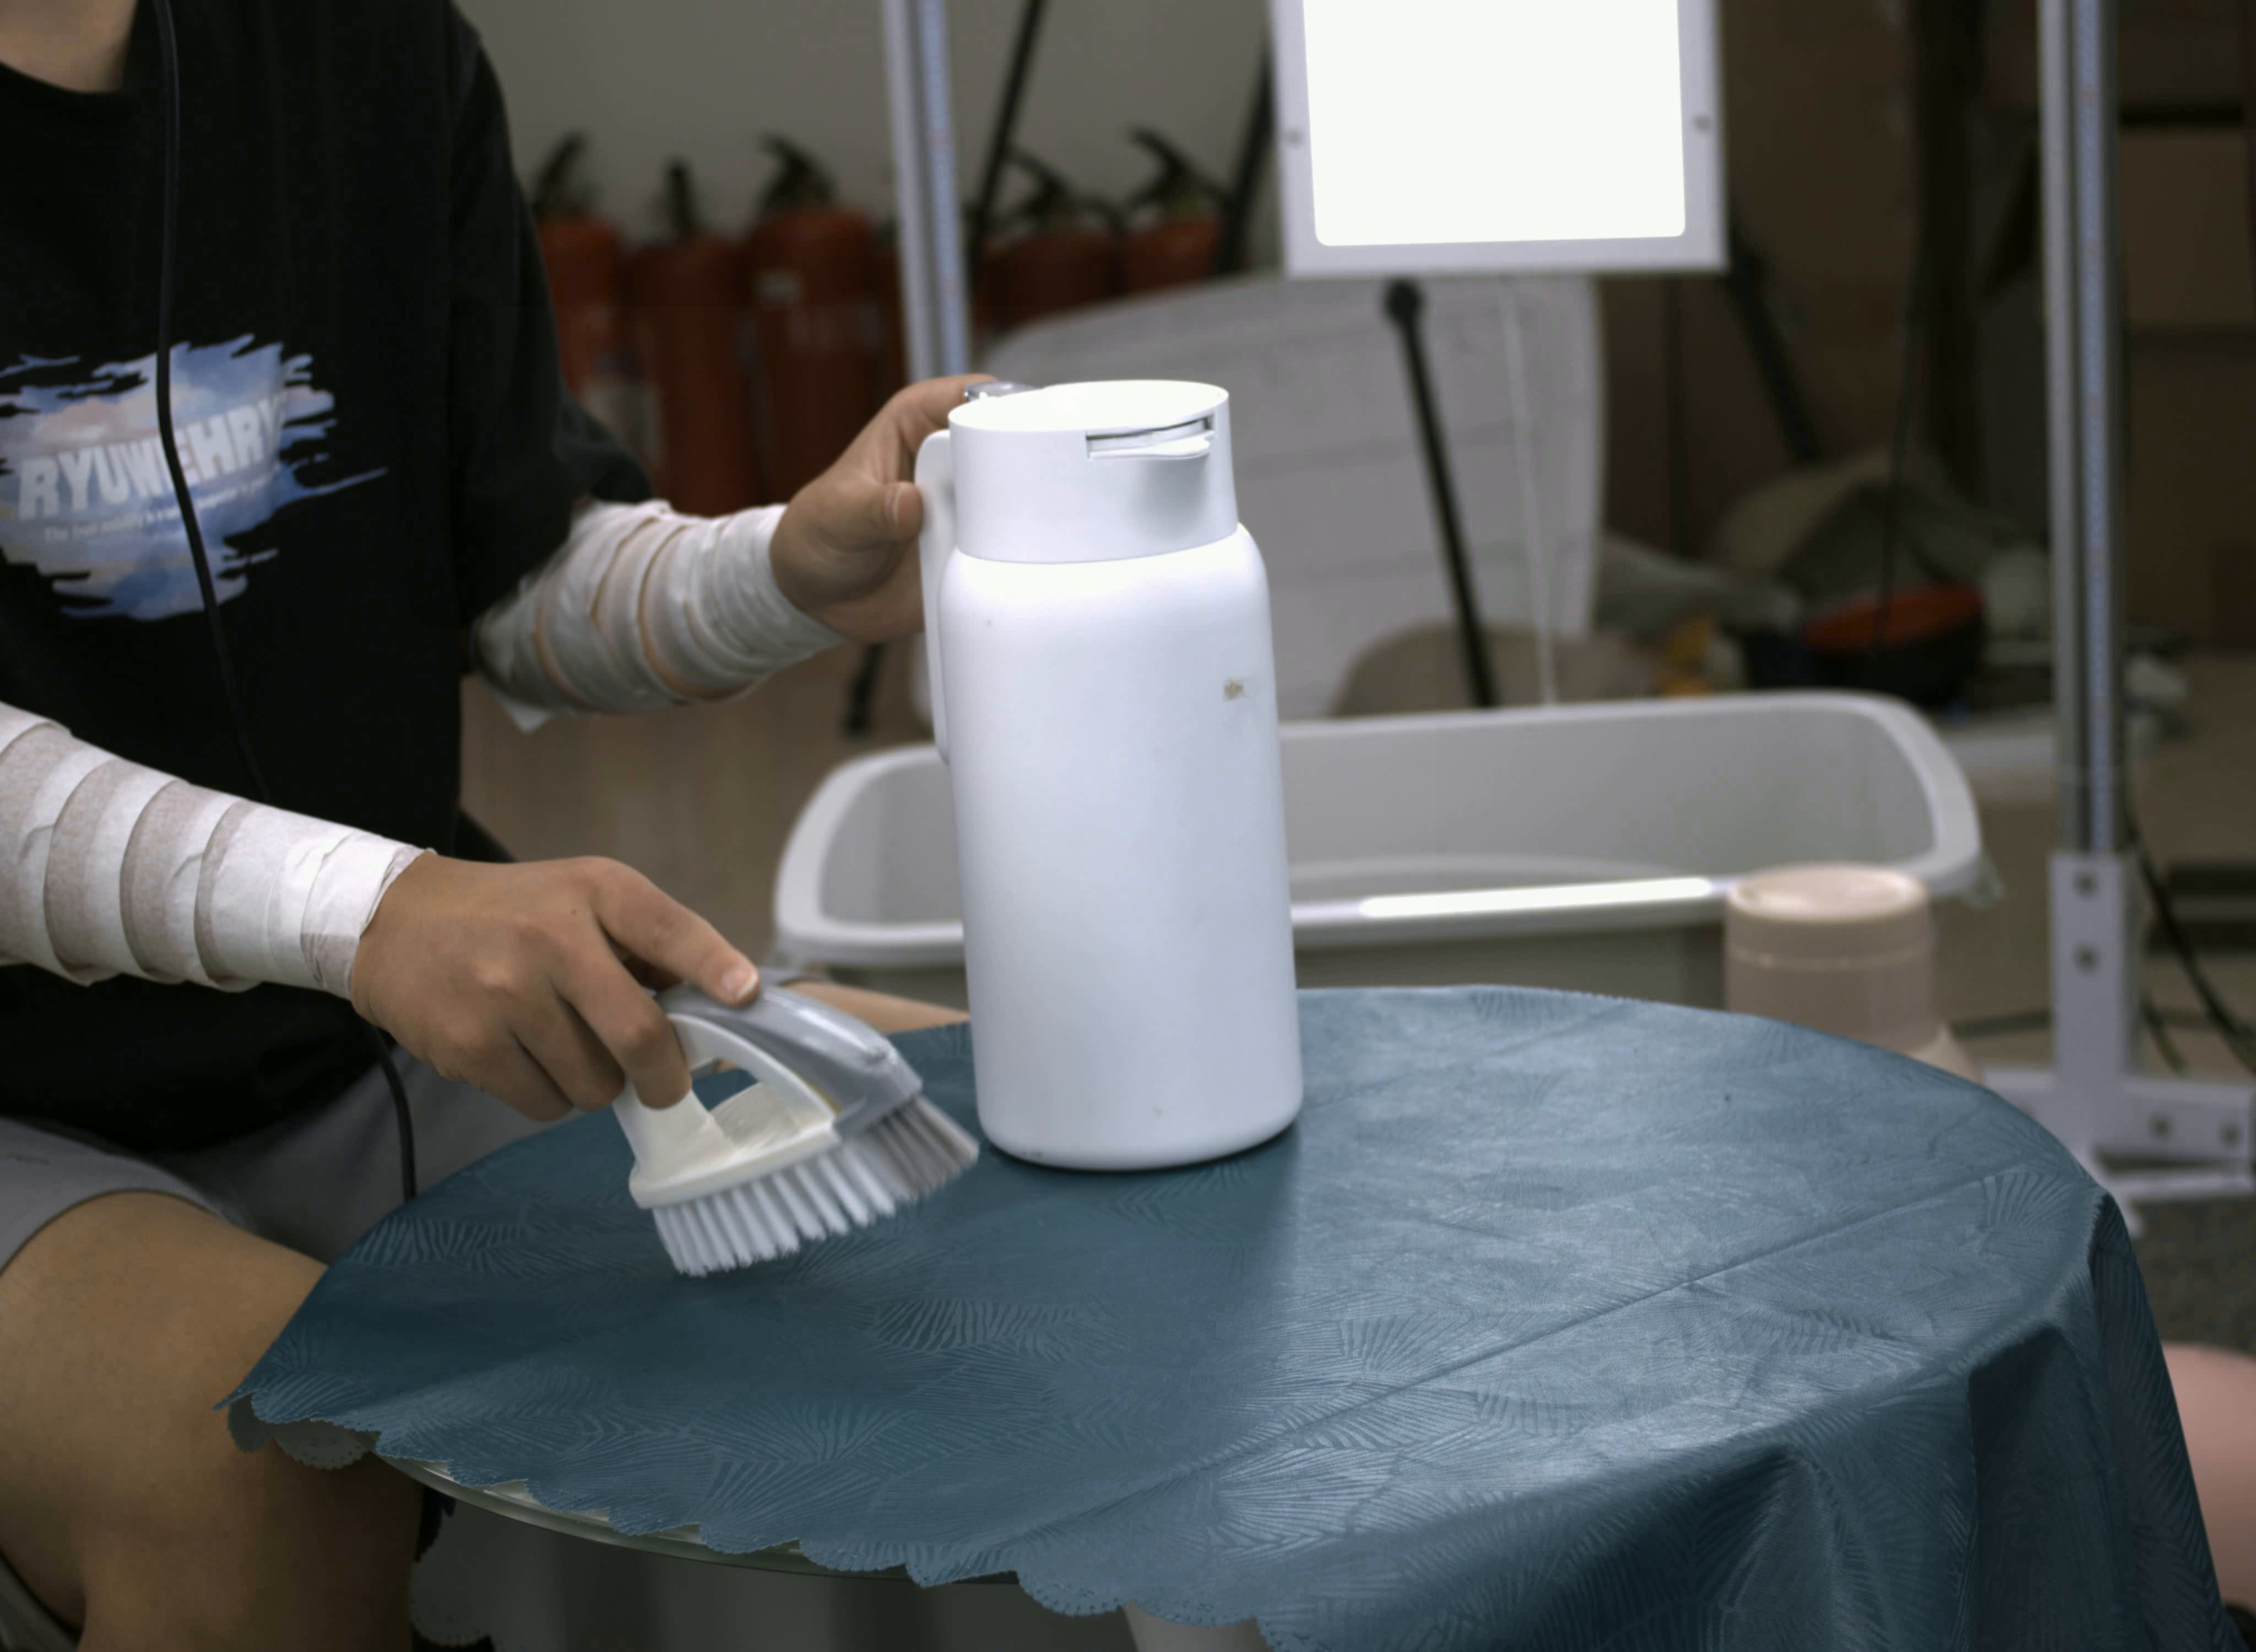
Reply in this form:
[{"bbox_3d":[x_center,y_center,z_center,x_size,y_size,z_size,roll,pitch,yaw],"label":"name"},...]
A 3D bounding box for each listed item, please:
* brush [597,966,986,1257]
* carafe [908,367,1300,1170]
[{"bbox_3d":[-0.115,0.083,1.792,0.060,0.094,0.179,-46,15,-29],"label":"brush"},{"bbox_3d":[-0.016,-0.023,1.951,0.121,0.270,0.176,-15,17,-31],"label":"carafe"}]
